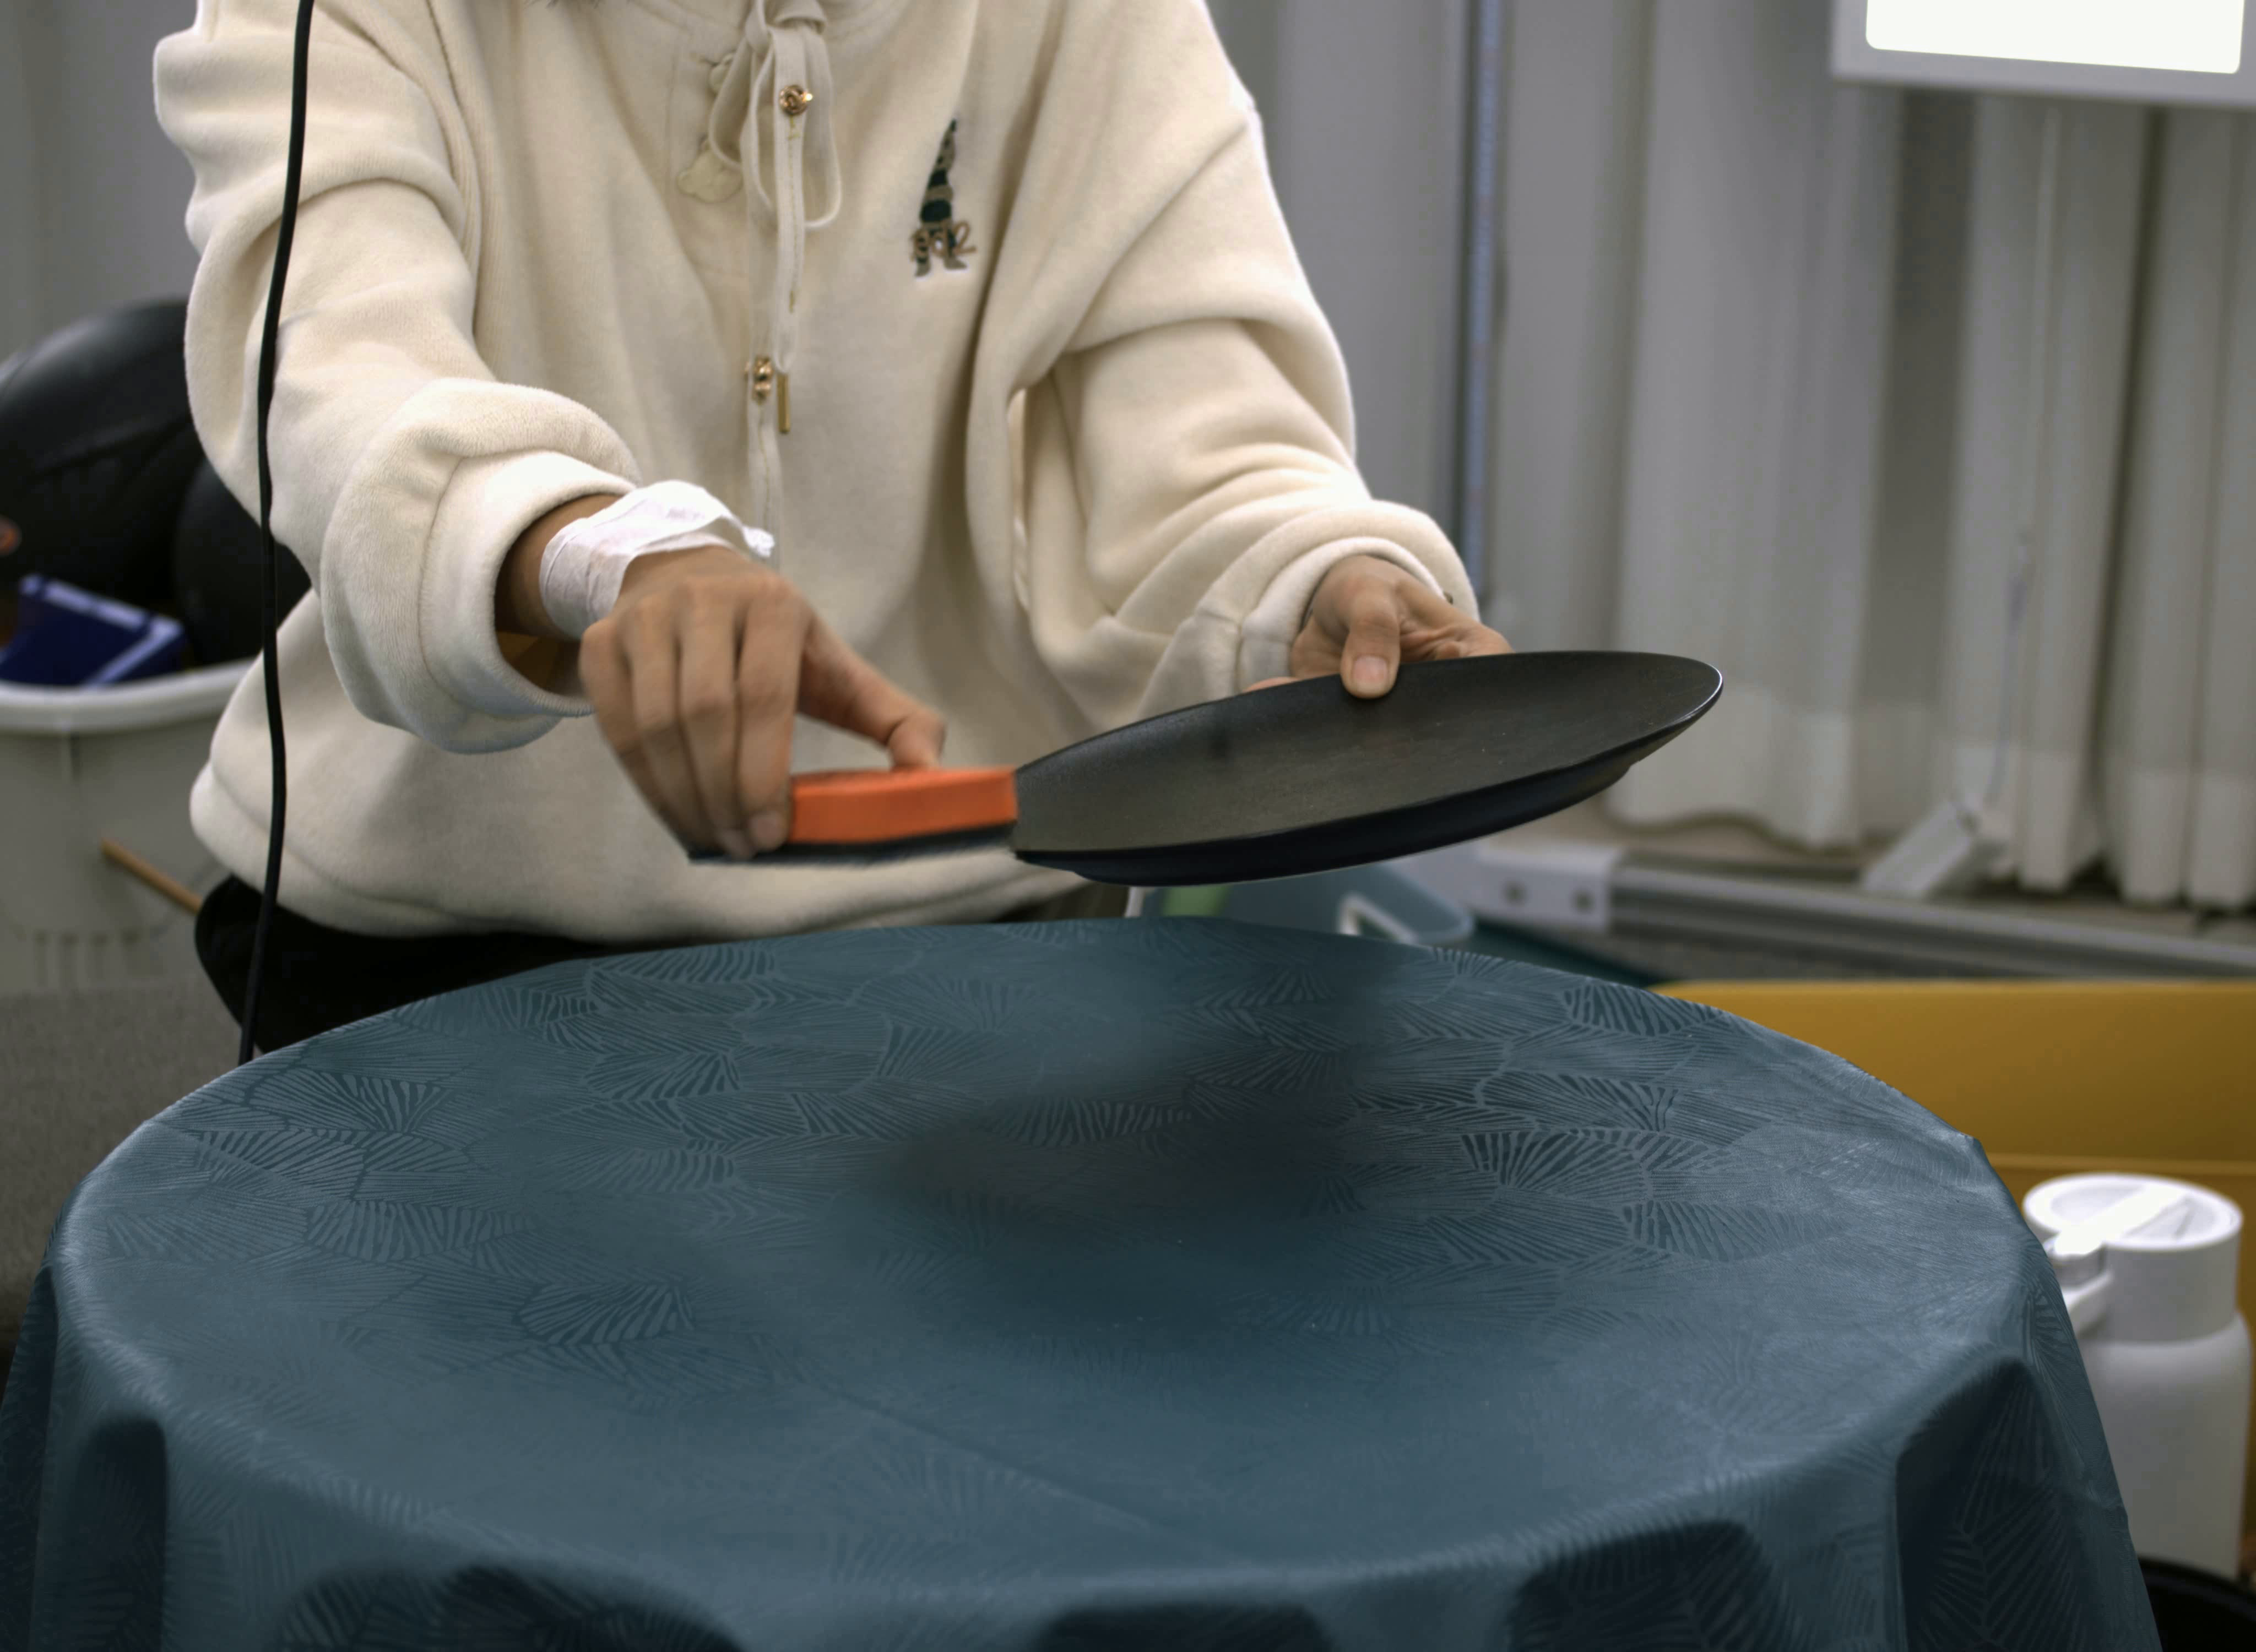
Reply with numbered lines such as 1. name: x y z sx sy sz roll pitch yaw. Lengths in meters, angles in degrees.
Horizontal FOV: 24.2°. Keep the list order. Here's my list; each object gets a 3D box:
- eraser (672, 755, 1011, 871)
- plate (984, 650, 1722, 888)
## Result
1. eraser: -0.085 -0.005 1.545 0.059 0.023 0.107 -9 10 -35
2. plate: 0.067 -0.016 1.645 0.243 0.023 0.243 -11 11 3
